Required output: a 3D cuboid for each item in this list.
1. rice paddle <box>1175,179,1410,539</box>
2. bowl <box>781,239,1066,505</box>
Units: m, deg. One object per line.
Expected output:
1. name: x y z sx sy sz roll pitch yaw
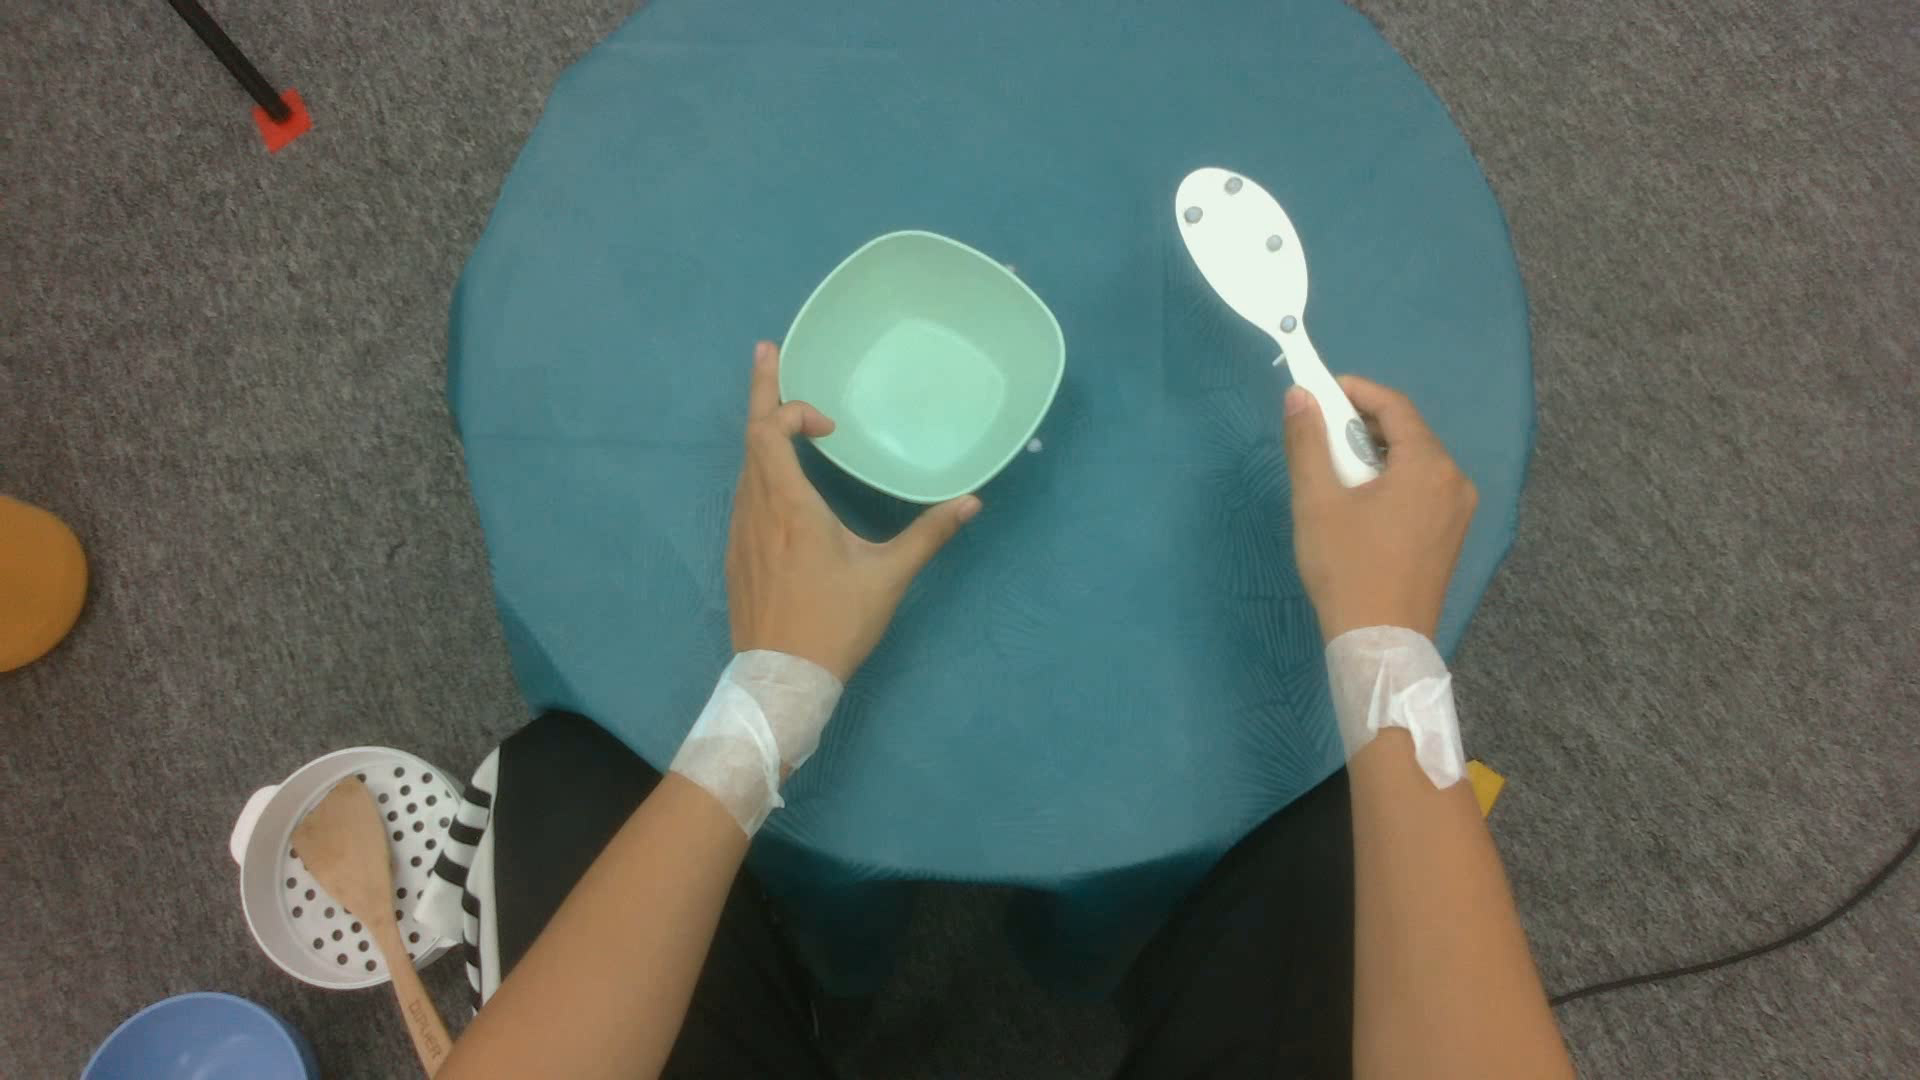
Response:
1. rice paddle: 0.168 -0.099 0.698 0.069 0.029 0.205 -17 75 -23
2. bowl: -0.019 -0.083 0.749 0.151 0.058 0.152 1 73 -2
